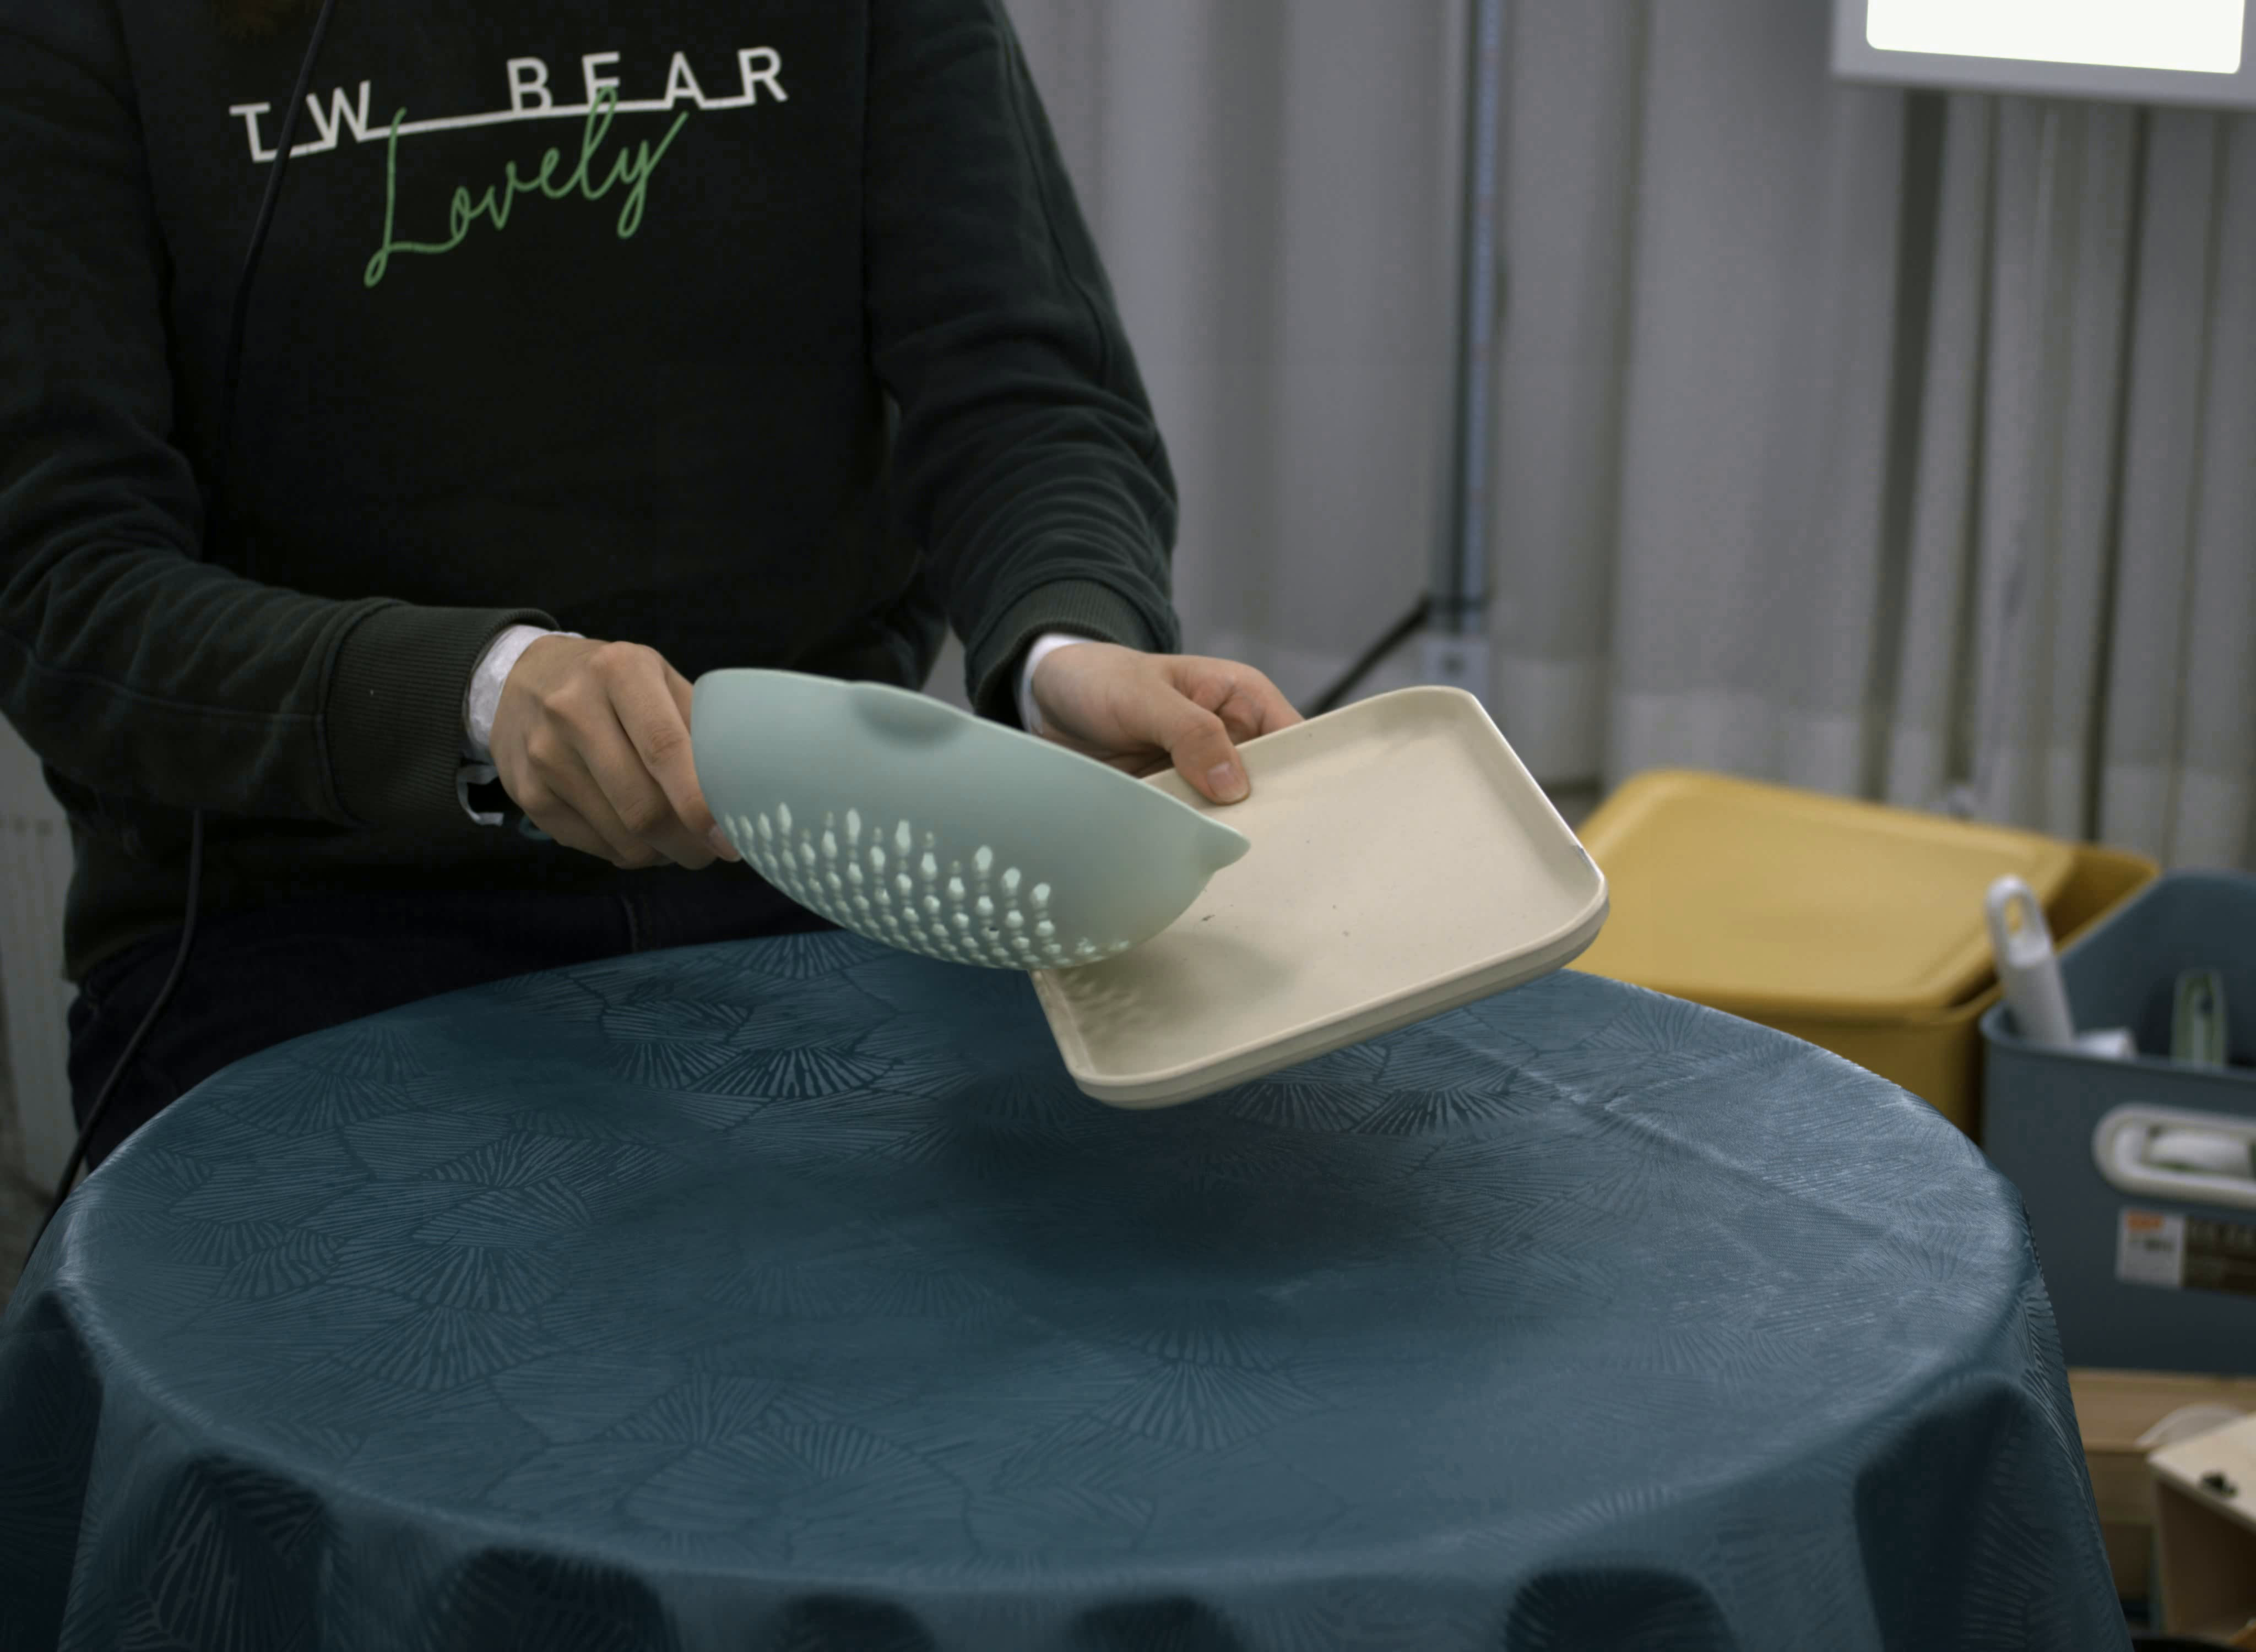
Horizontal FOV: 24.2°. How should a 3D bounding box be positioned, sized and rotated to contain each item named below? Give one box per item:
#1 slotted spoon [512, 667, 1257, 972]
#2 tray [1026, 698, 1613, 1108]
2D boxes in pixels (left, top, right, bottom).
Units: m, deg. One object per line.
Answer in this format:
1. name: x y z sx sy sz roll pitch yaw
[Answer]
1. slotted spoon: -0.107 -0.005 1.670 0.171 0.075 0.355 25 -6 -31
2. tray: 0.050 0.022 1.637 0.171 0.017 0.237 -19 20 -3
